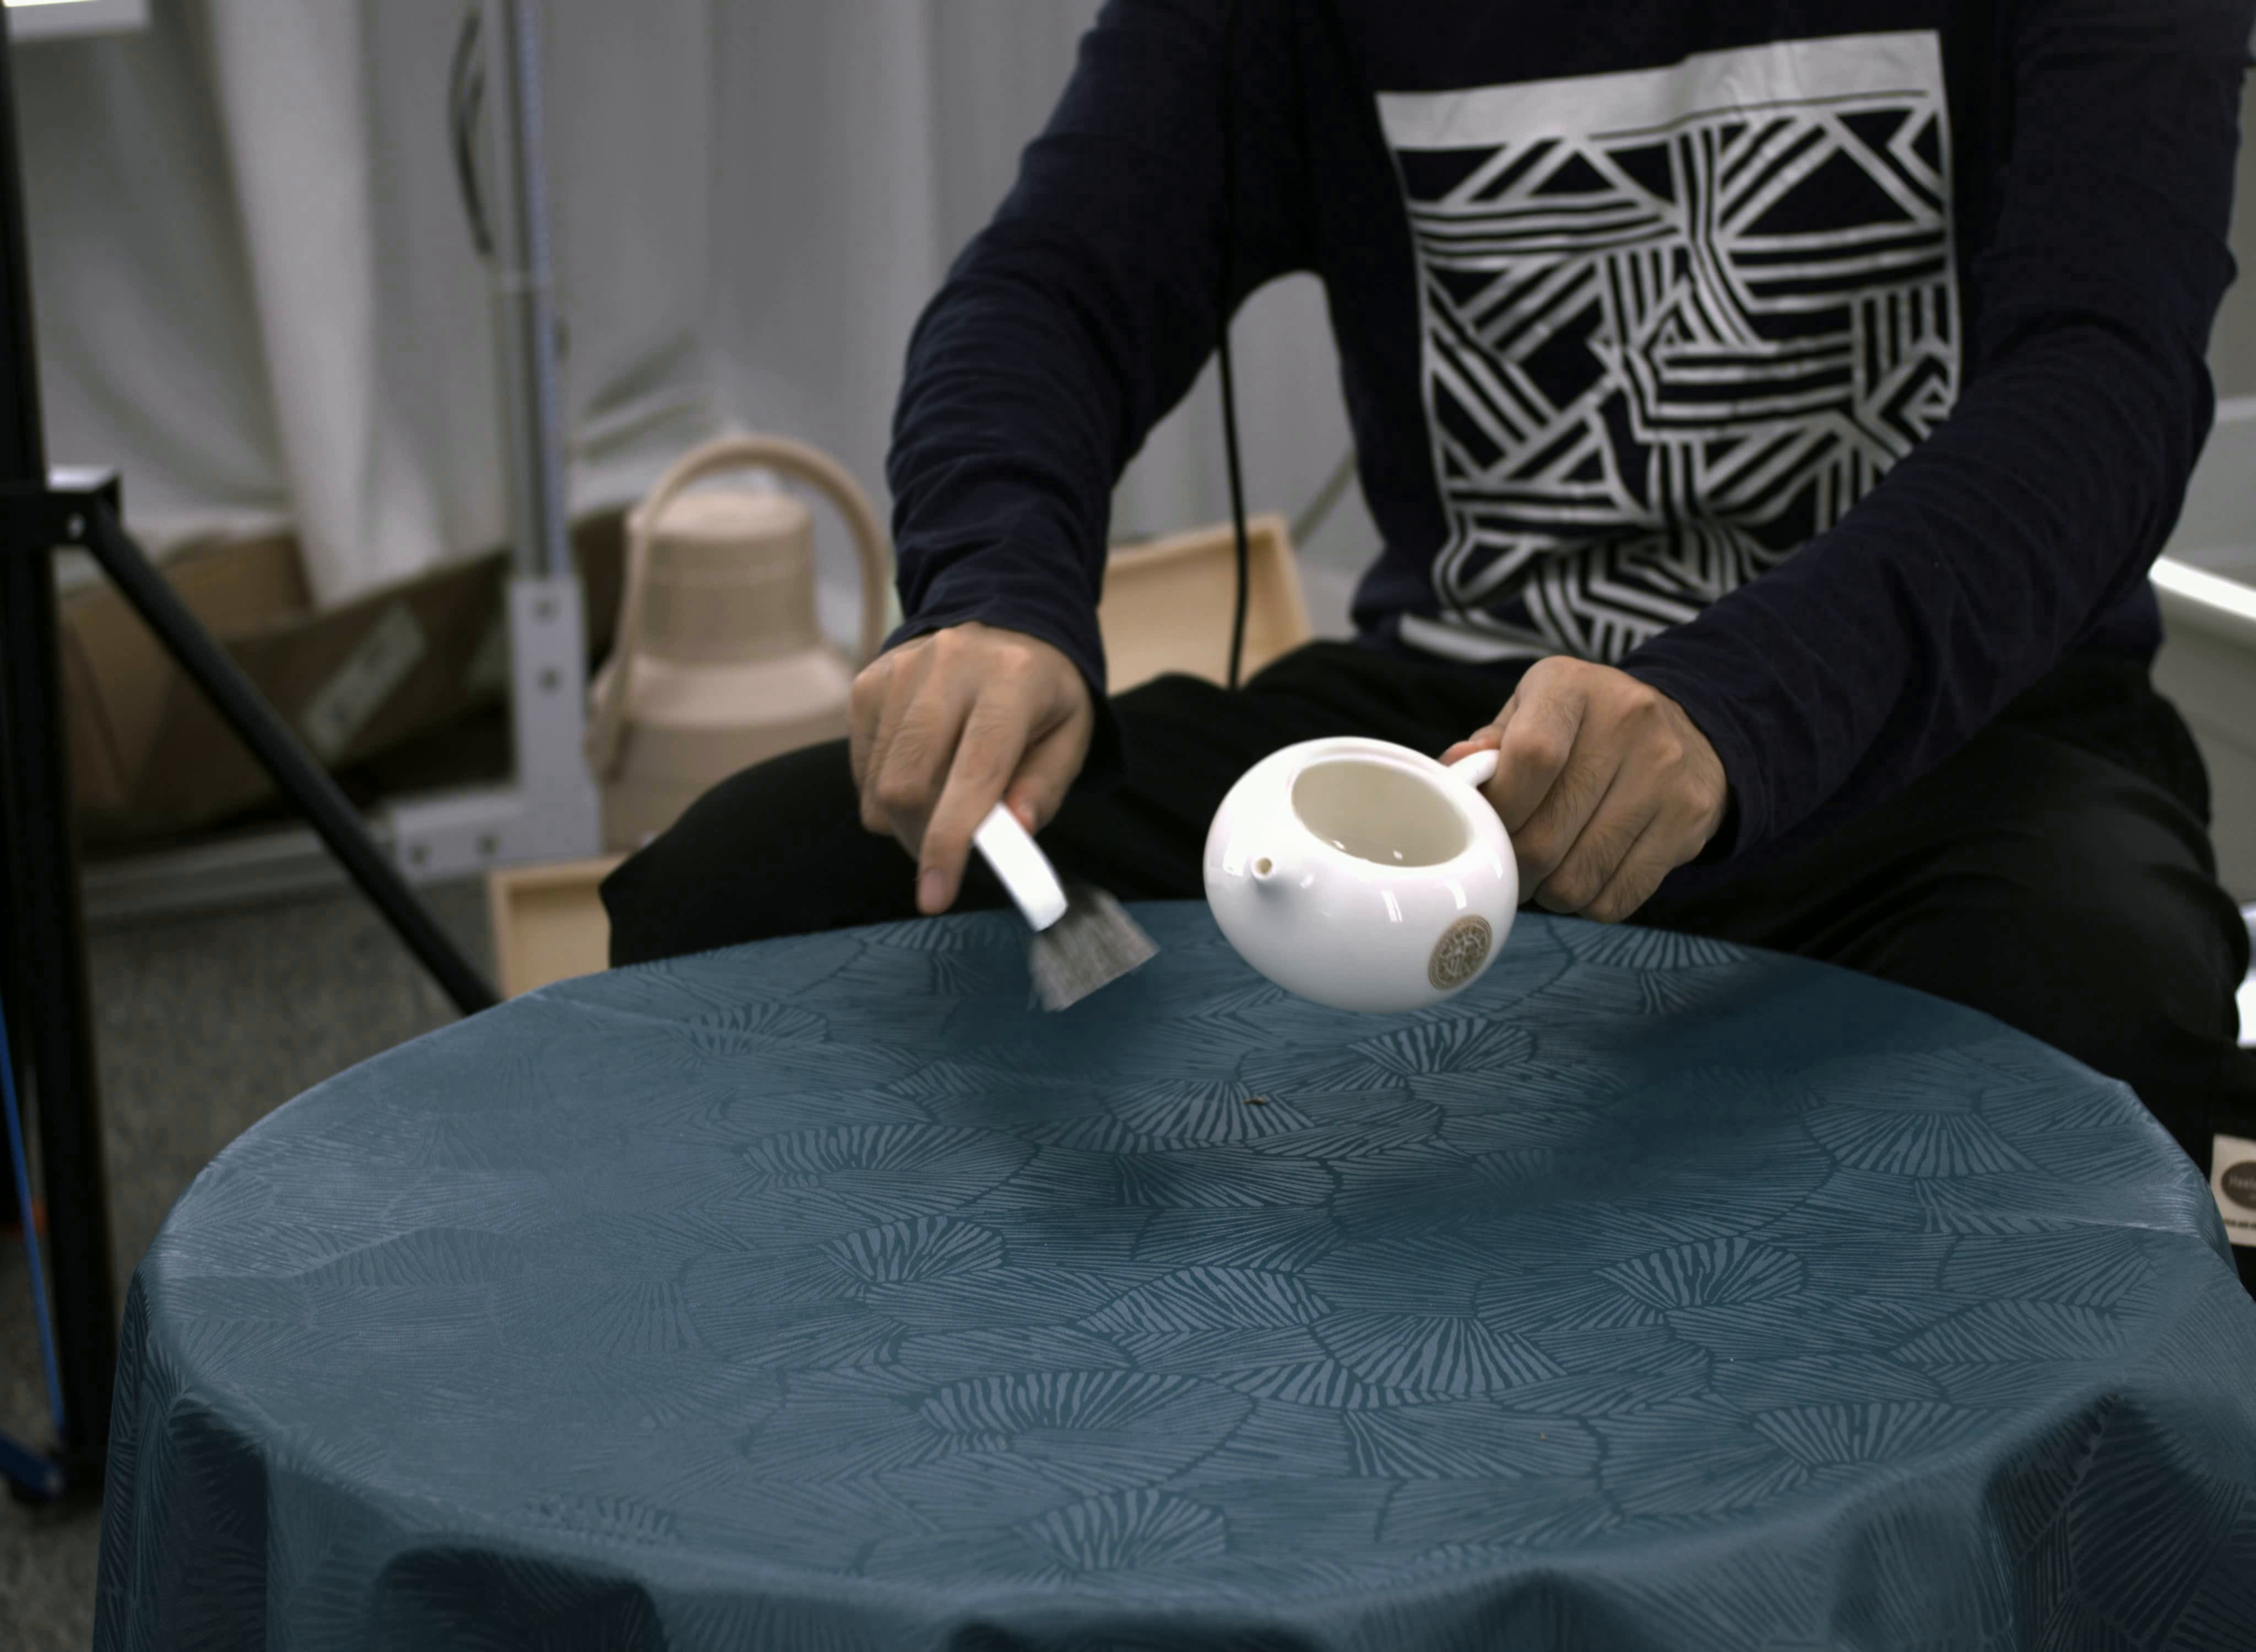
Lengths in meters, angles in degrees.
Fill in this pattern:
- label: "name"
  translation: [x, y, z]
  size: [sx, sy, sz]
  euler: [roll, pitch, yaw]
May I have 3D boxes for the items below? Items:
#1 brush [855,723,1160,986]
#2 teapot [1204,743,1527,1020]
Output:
- label: "brush"
  translation: [-0.039, 0.009, 1.668]
  size: [0.034, 0.050, 0.247]
  euler: [-37, 18, -7]
- label: "teapot"
  translation: [0.076, 0.013, 1.565]
  size: [0.095, 0.056, 0.125]
  euler: [31, 38, 29]
